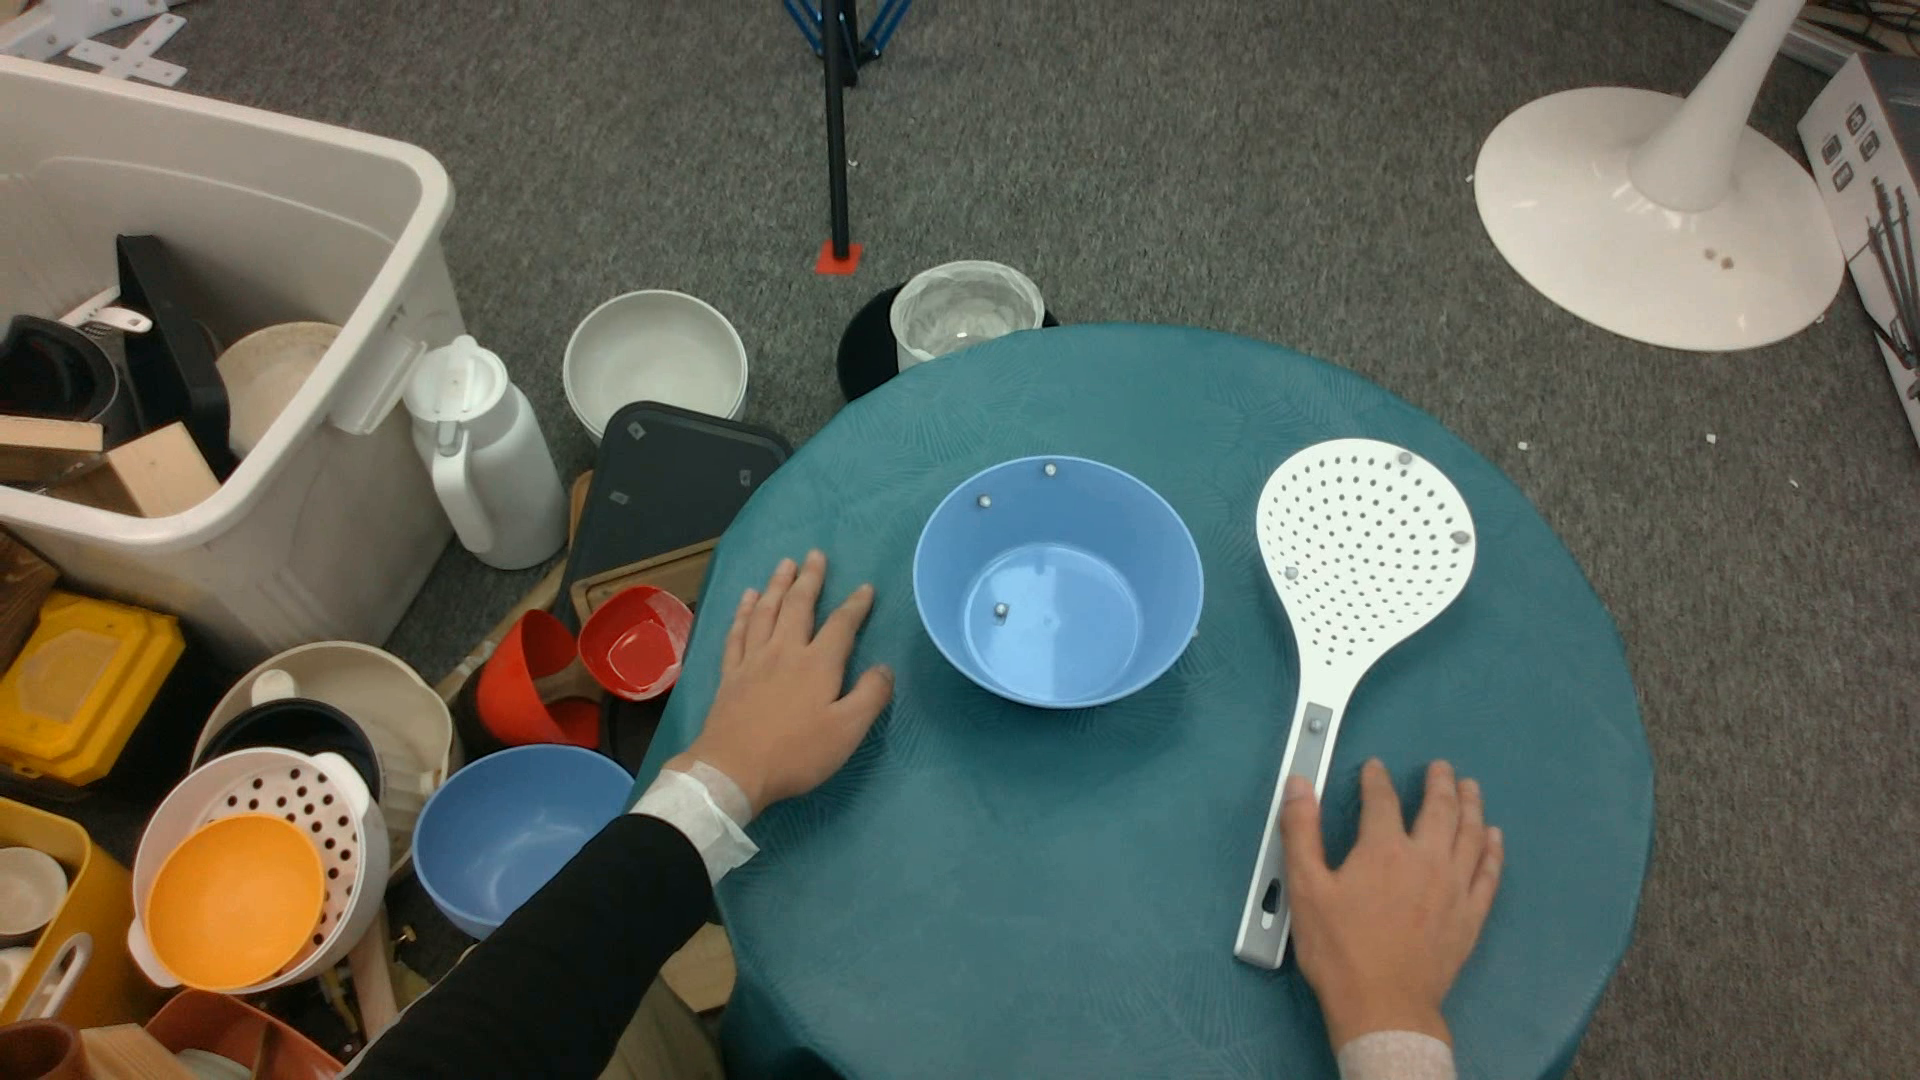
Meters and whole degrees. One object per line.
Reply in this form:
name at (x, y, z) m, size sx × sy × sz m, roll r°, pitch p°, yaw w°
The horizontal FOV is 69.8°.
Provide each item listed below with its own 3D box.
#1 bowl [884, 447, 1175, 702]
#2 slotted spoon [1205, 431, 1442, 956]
bowl at (0.041, 0.032, 0.855) m, size 0.176 × 0.070 × 0.177 m, roll 1°, pitch 59°, yaw -2°
slotted spoon at (0.207, 0.083, 0.847) m, size 0.136 × 0.045 × 0.351 m, roll 18°, pitch 60°, yaw 7°
